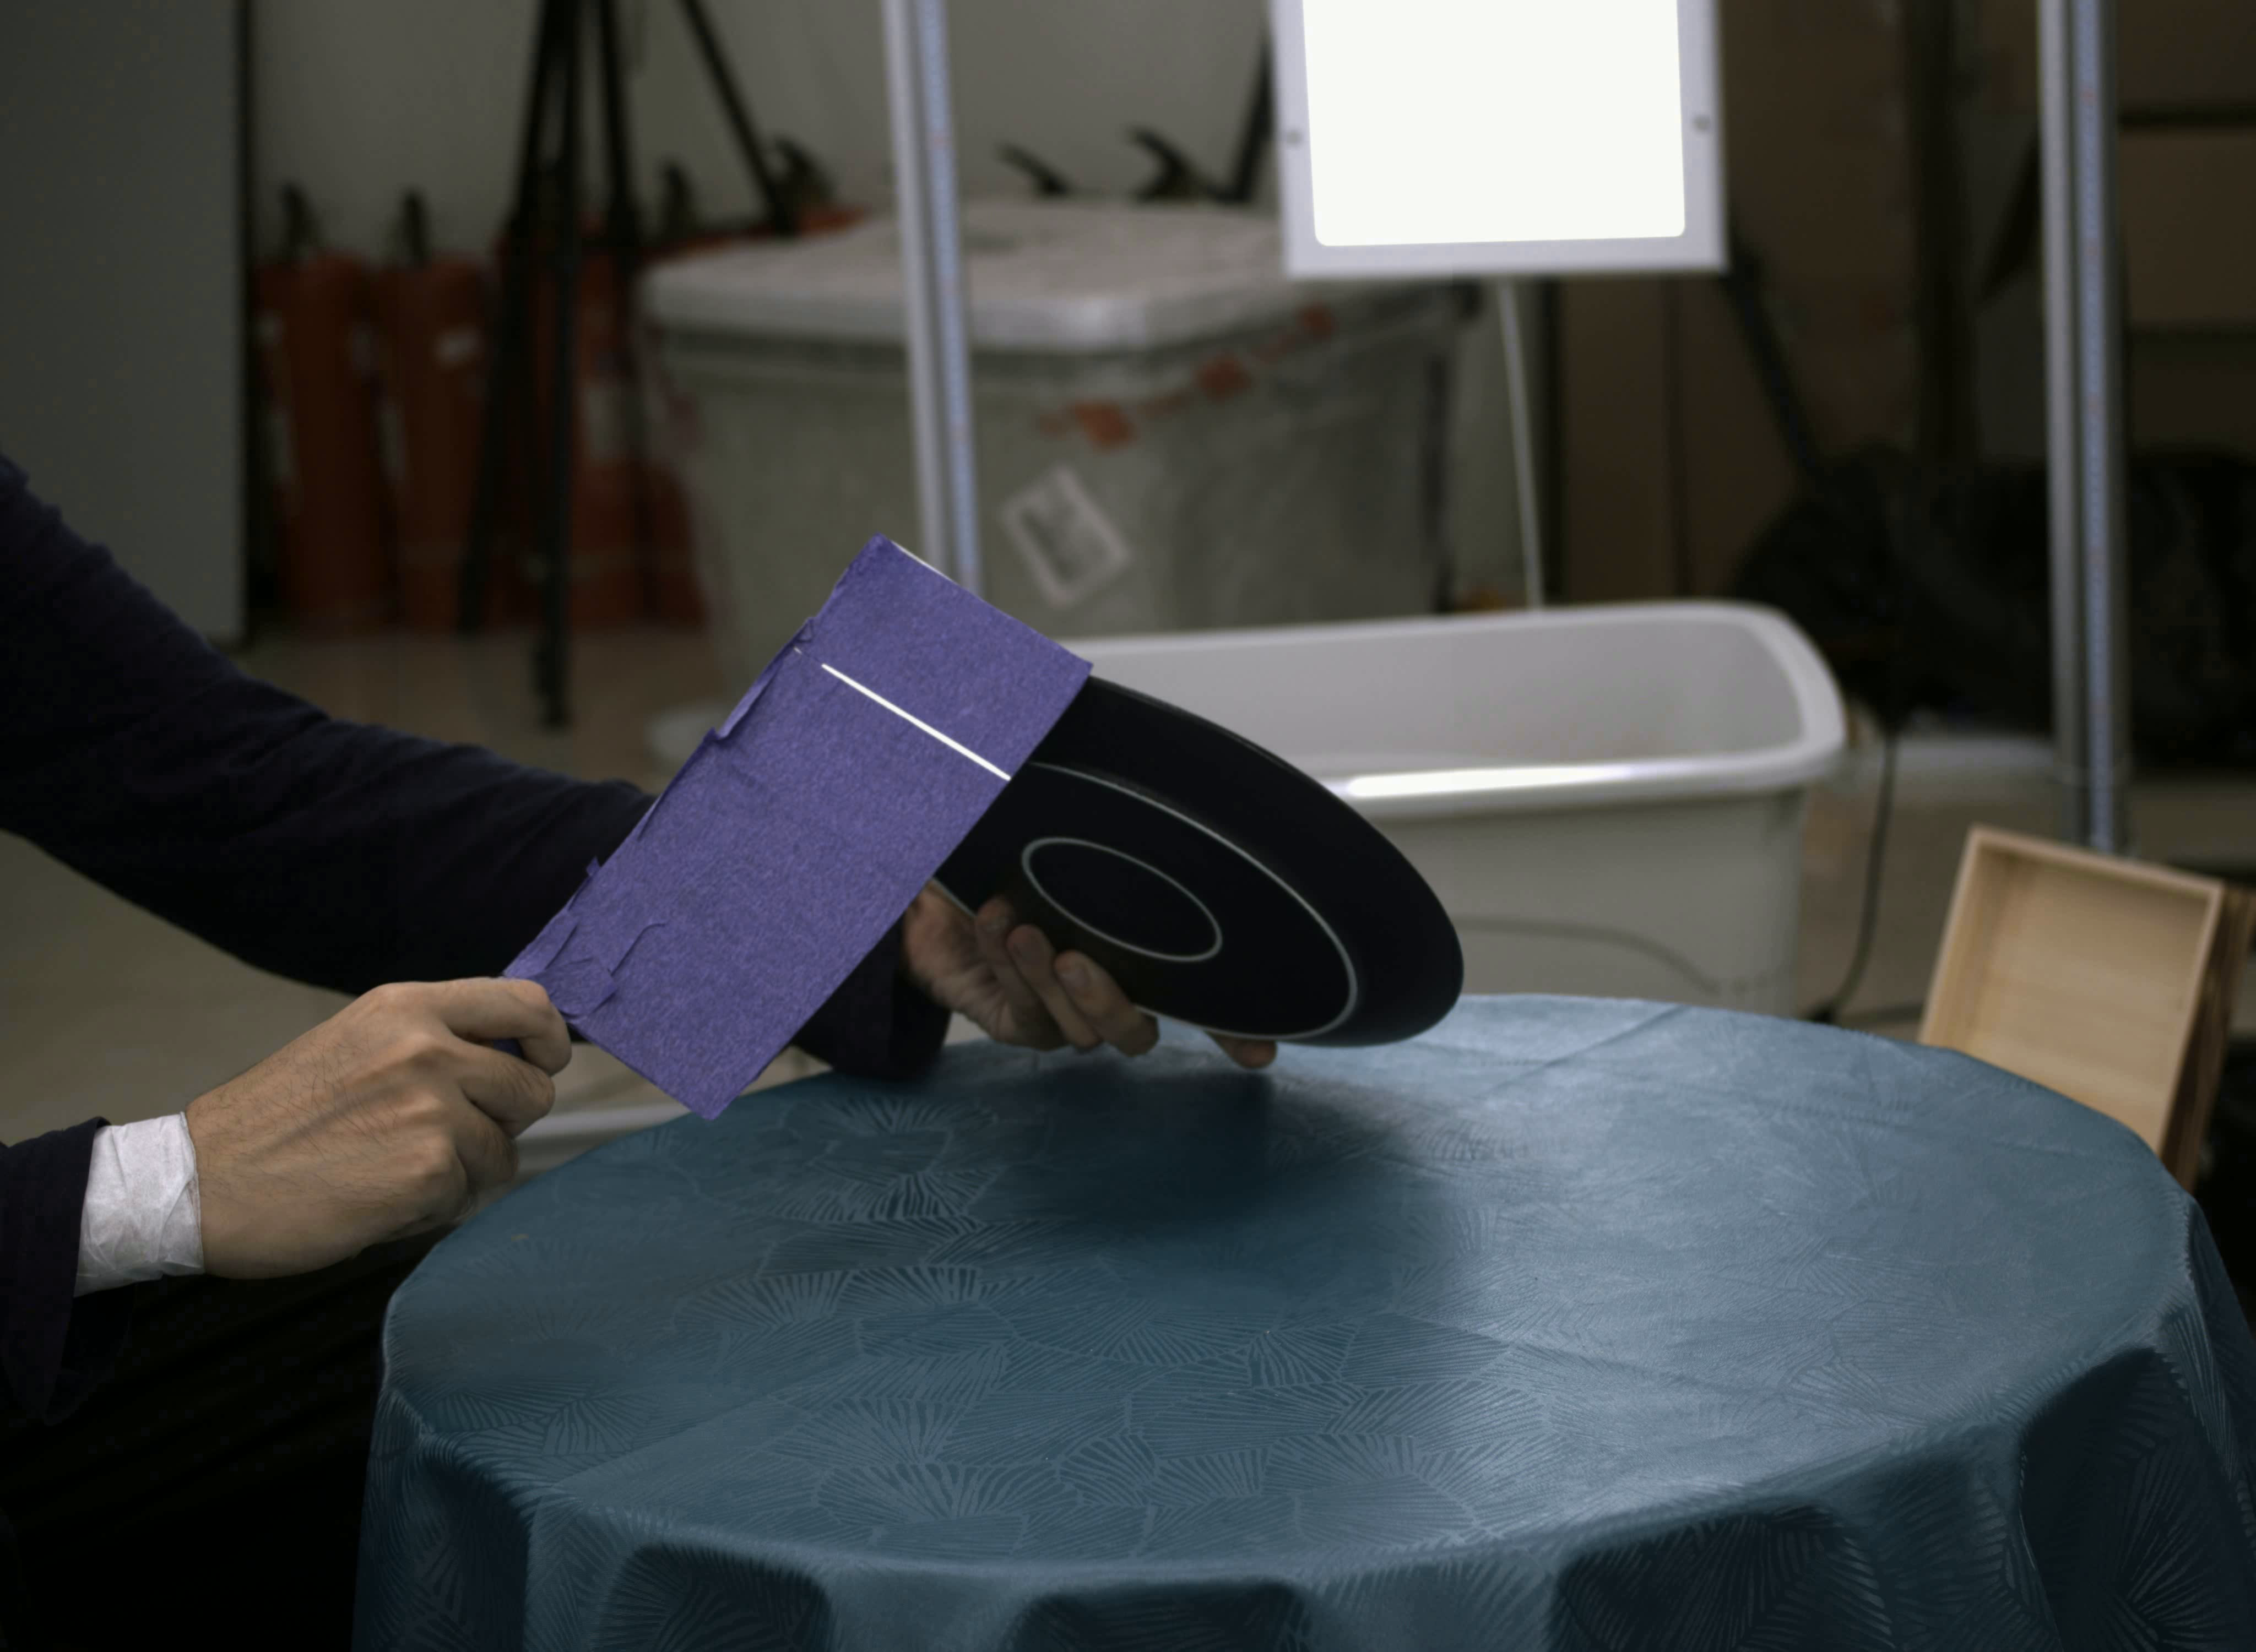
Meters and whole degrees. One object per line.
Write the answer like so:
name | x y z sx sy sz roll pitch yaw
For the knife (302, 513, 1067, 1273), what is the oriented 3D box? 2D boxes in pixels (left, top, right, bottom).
knife | -0.139 0.033 1.800 0.105 0.032 0.312 32 72 18

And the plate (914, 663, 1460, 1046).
plate | 0.001 0.017 1.939 0.249 0.241 0.023 7 59 39
